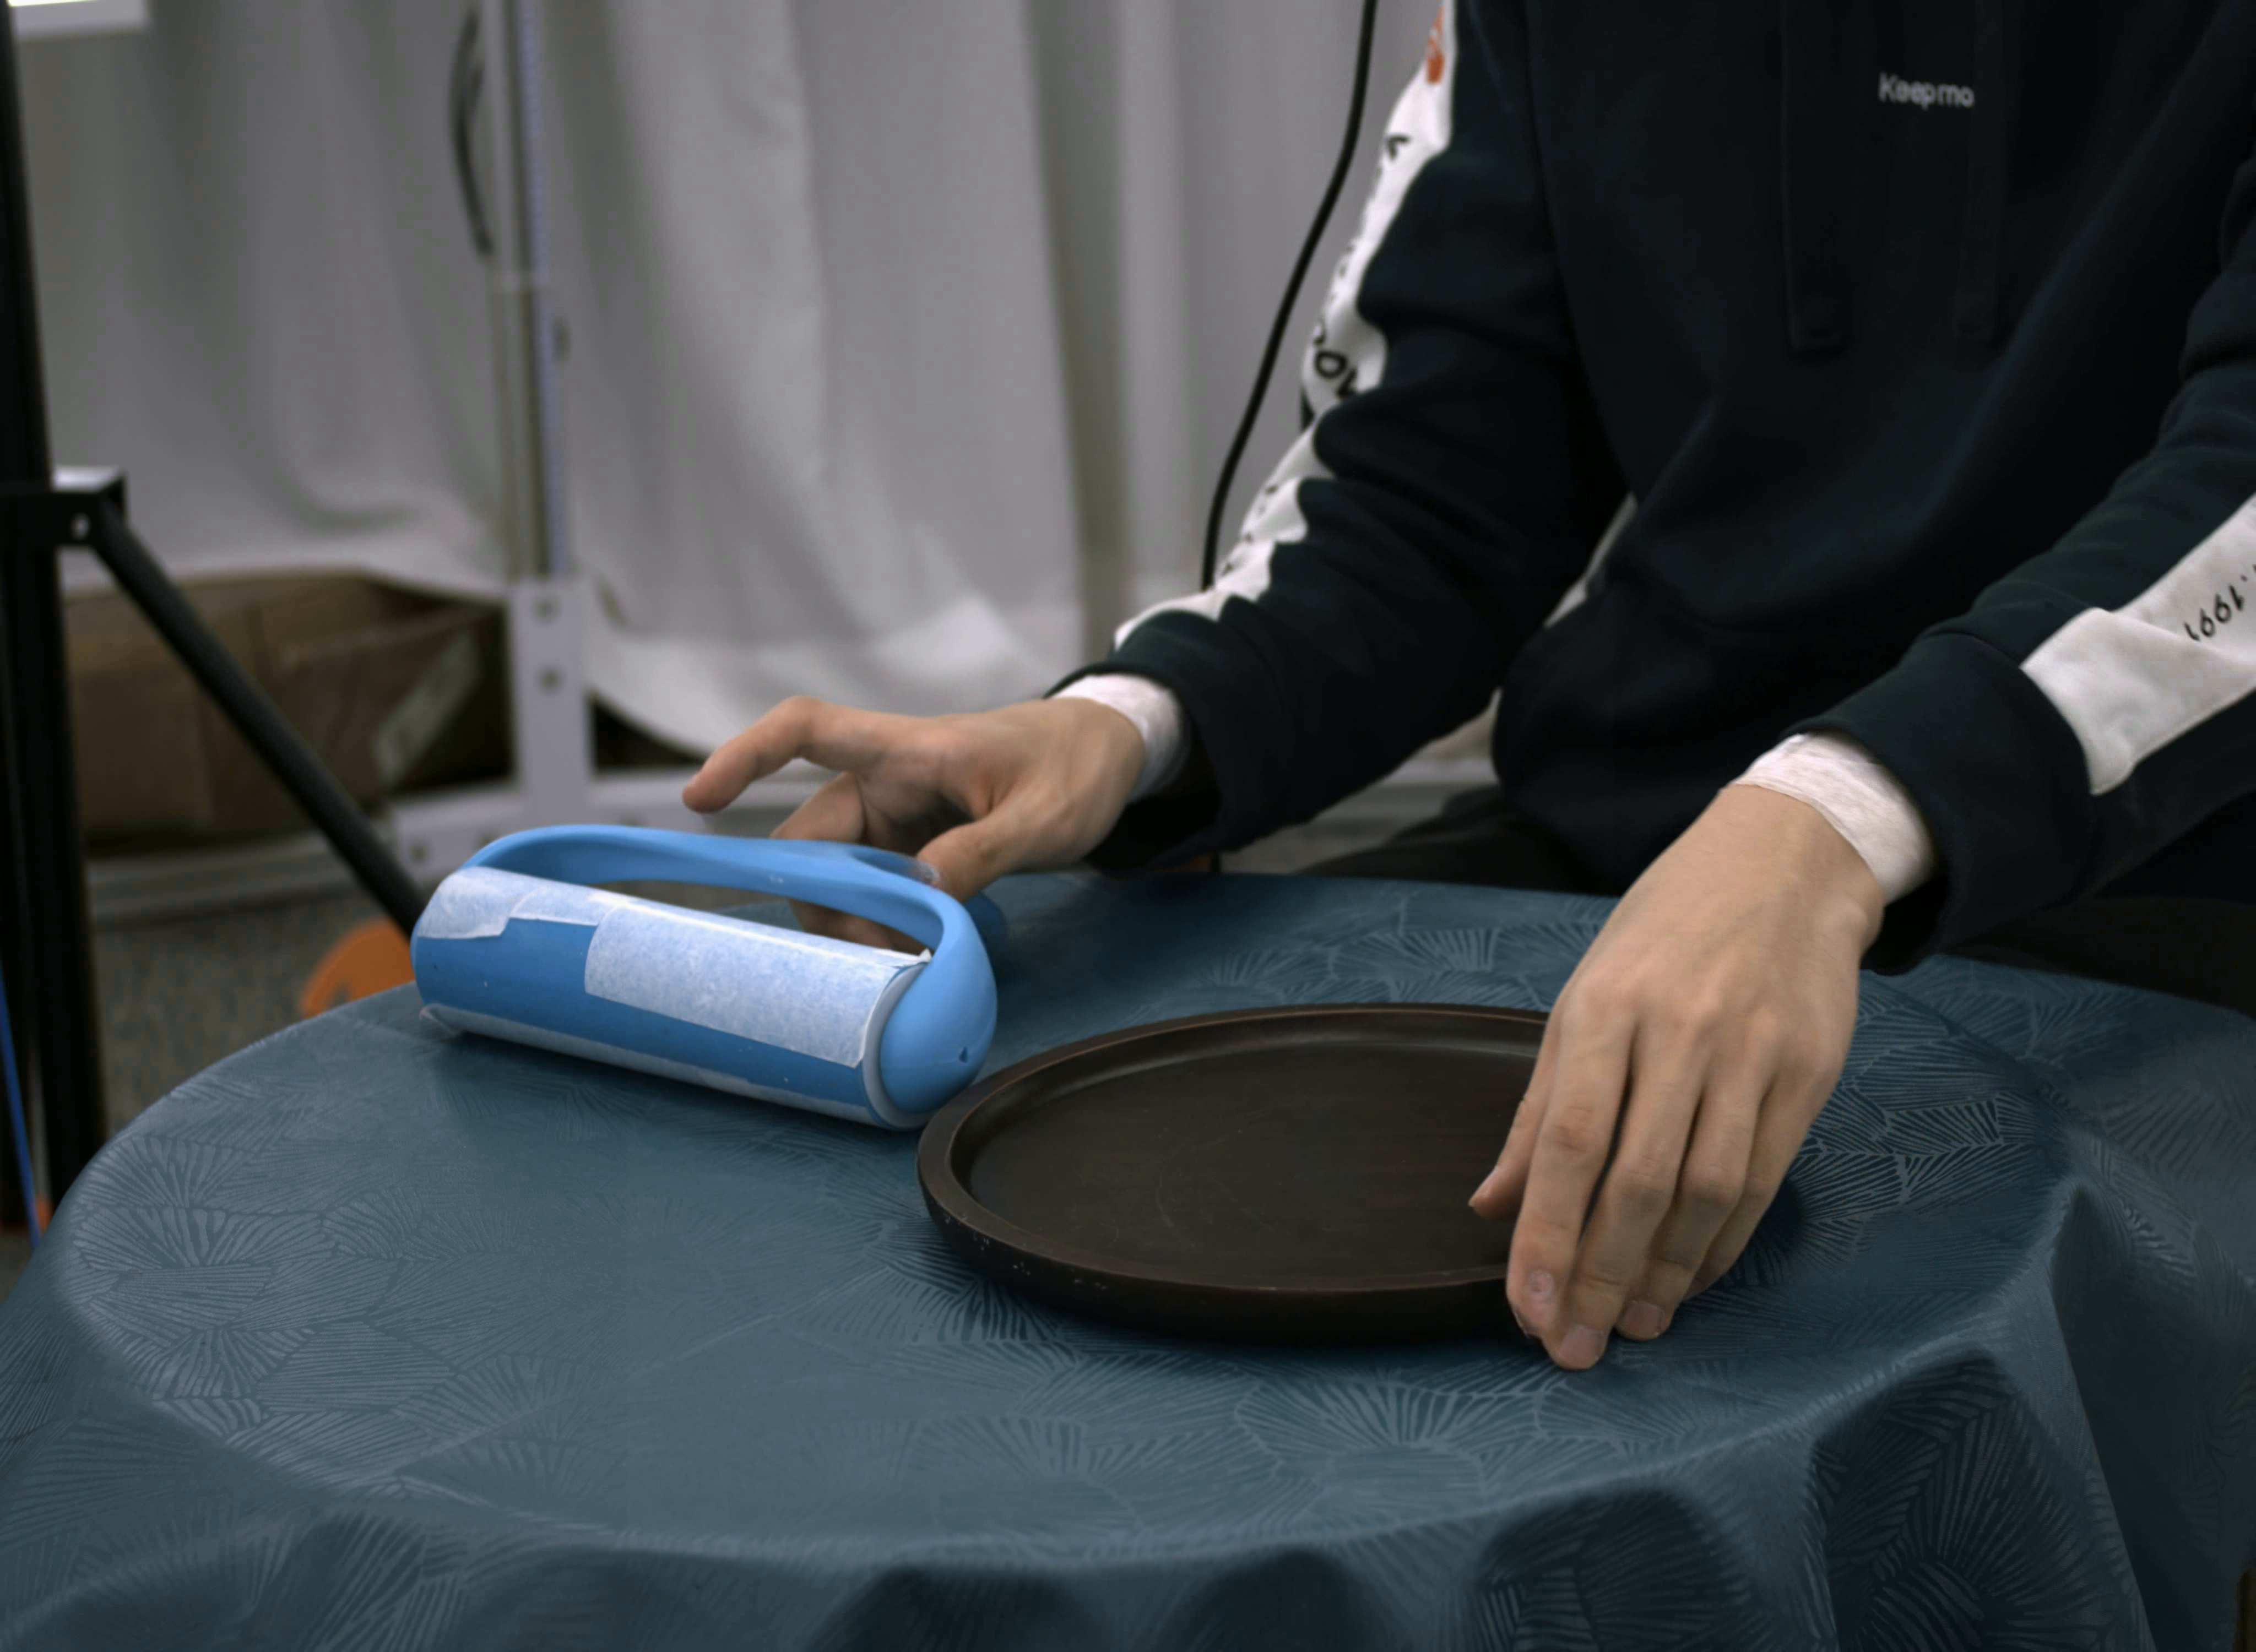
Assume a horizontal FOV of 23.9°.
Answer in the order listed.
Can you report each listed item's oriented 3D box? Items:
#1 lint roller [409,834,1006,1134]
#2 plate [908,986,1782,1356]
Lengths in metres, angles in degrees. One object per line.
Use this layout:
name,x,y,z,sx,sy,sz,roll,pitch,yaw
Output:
lint roller,-0.104,0.038,1.719,0.233,0.068,0.176,7,20,37
plate,0.063,0.100,1.533,0.253,0.029,0.256,-4,16,0
